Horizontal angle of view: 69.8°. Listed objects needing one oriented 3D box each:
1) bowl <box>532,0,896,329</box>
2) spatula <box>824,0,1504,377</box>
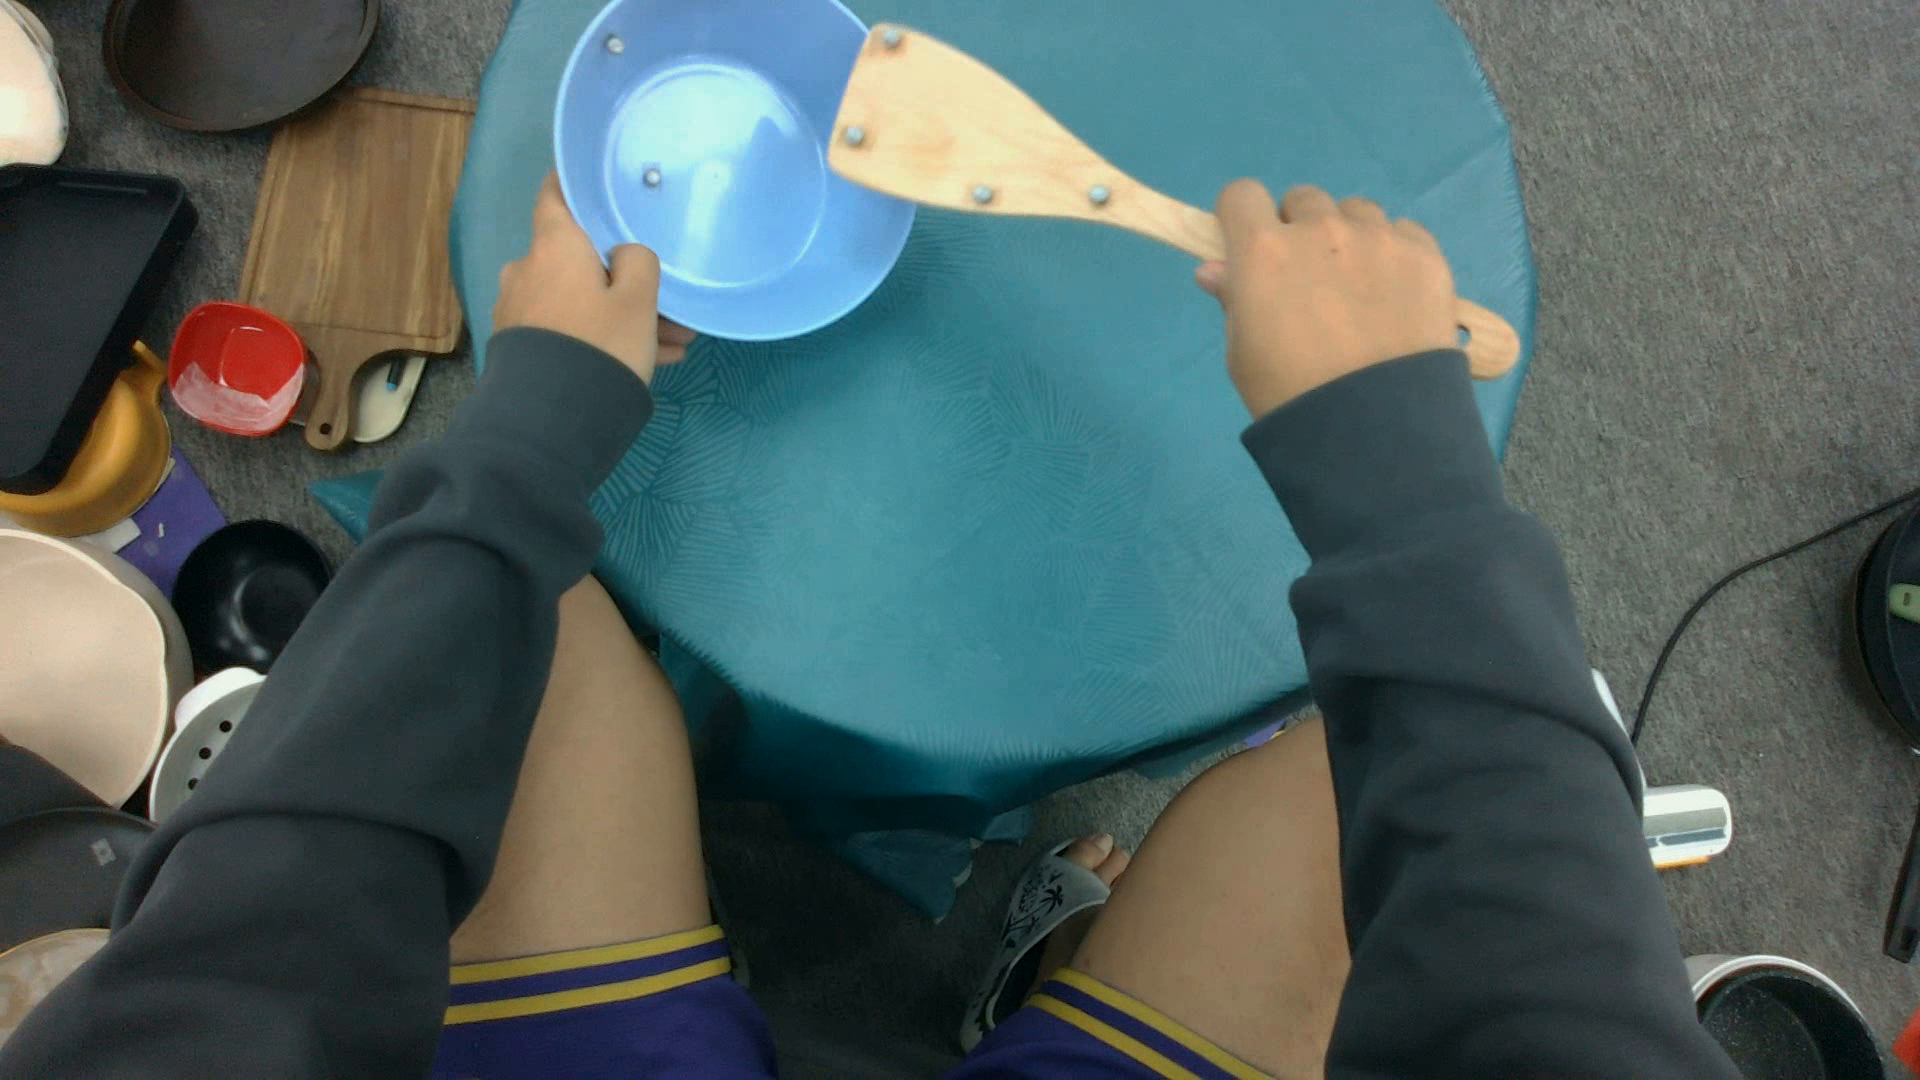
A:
[{"bbox_3d":[-0.125,-0.189,0.682,0.176,0.070,0.176,-1,92,-25],"label":"bowl"},{"bbox_3d":[0.078,-0.149,0.593,0.327,0.016,0.080,31,85,20],"label":"spatula"}]
